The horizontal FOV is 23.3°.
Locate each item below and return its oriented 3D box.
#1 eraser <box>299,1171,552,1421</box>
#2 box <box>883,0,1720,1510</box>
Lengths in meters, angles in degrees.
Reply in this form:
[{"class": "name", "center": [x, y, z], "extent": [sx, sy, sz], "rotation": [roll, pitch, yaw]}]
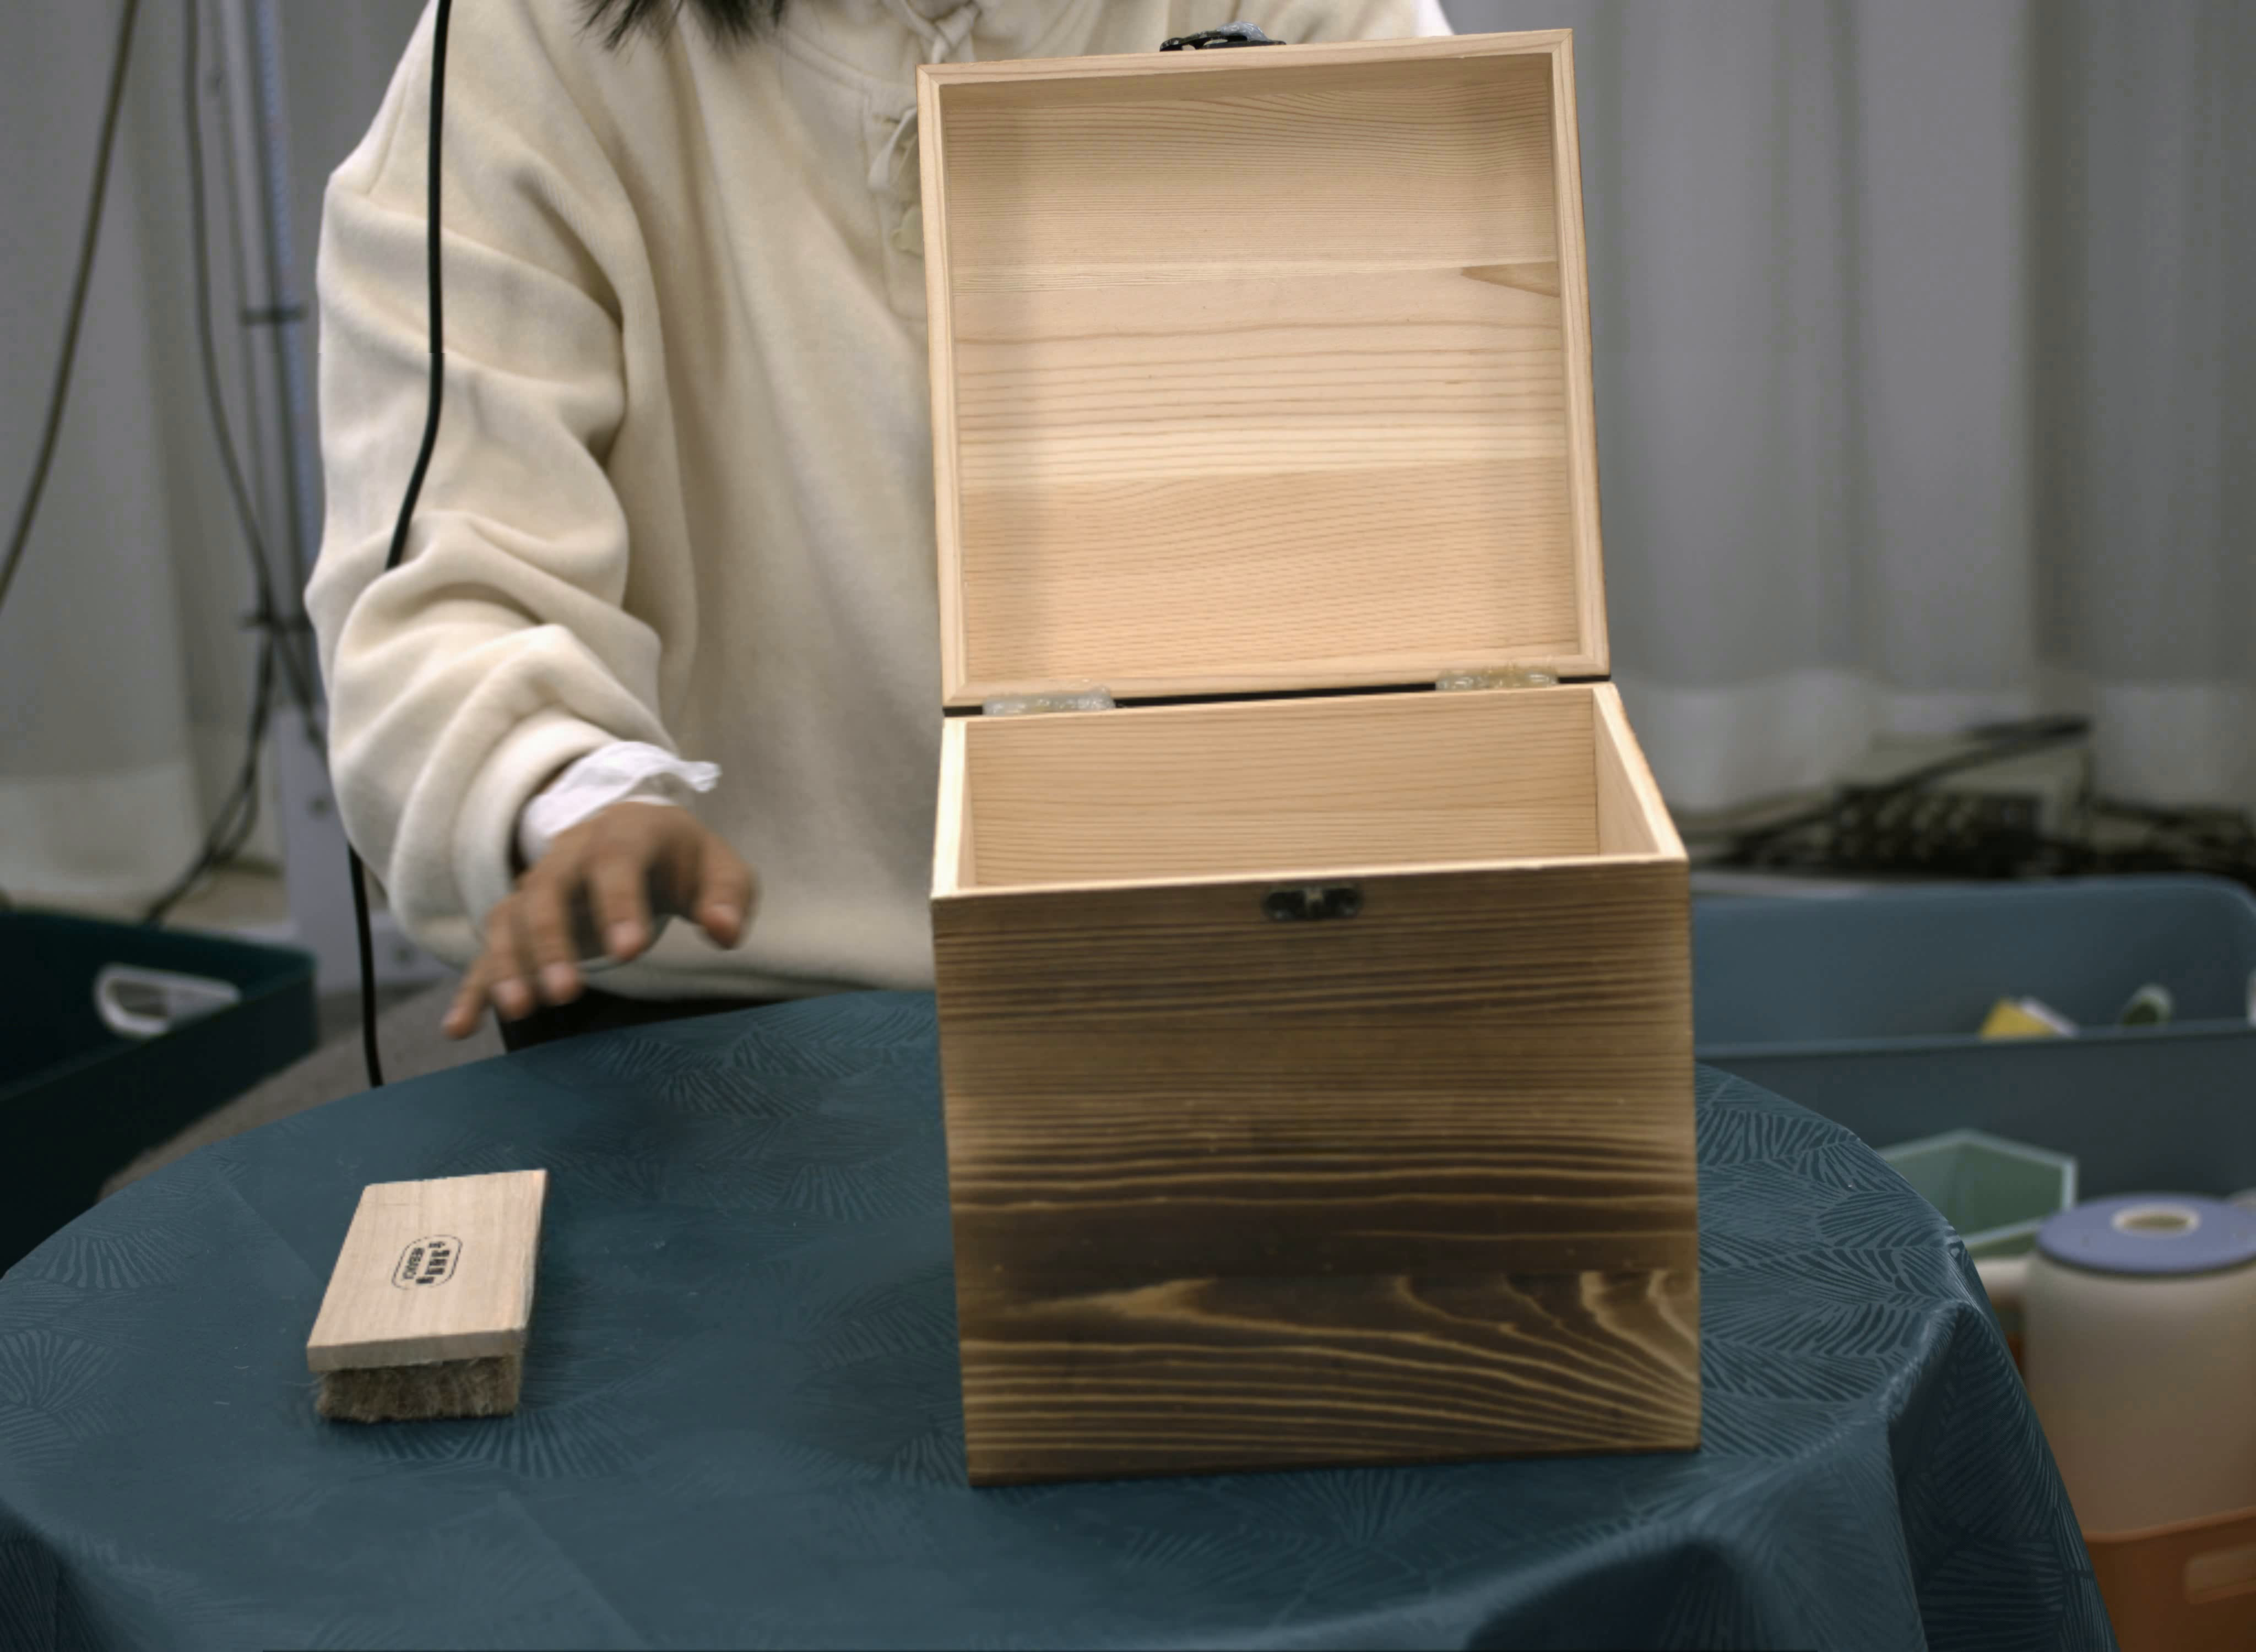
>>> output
[{"class": "eraser", "center": [-0.204, 0.139, 1.609], "extent": [0.057, 0.029, 0.140], "rotation": [-6, 14, 2]}, {"class": "box", "center": [0.042, -0.039, 1.580], "extent": [0.208, 0.374, 0.324], "rotation": [-4, 14, 0]}]
